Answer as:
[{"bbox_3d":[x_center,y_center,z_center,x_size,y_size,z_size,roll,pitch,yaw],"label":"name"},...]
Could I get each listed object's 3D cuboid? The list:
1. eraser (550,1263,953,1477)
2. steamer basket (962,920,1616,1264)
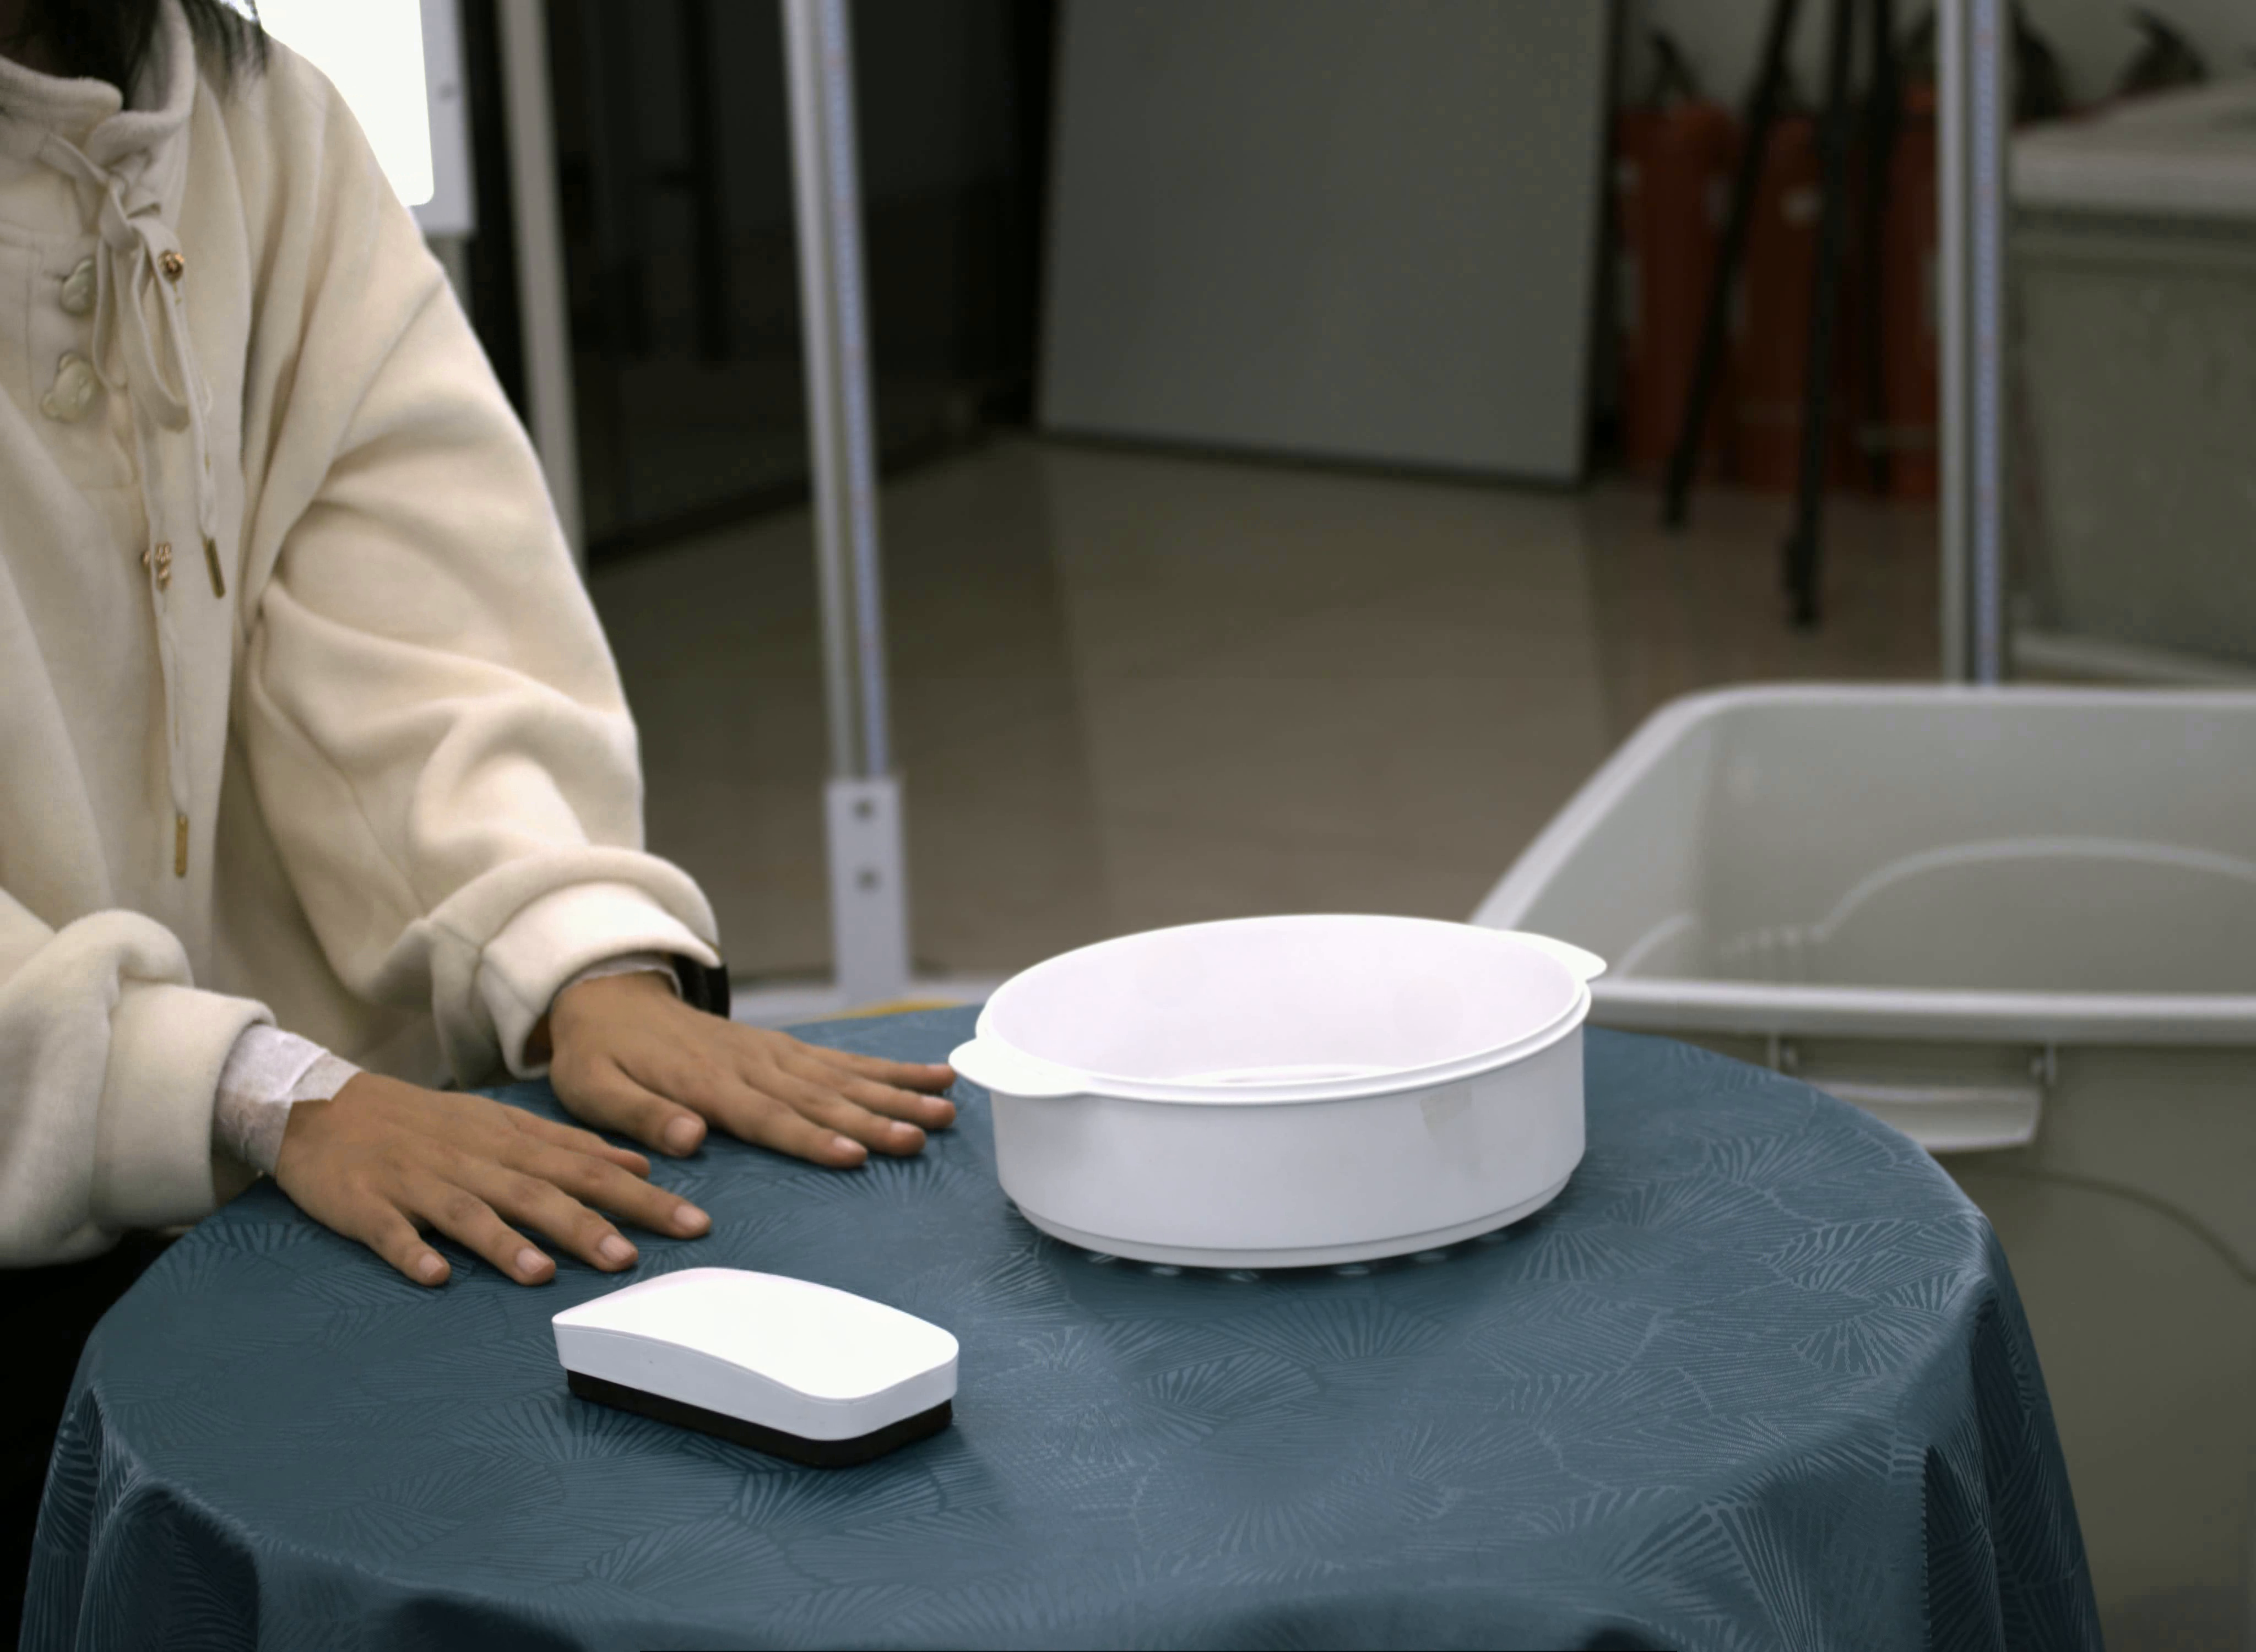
[{"bbox_3d":[-0.110,0.157,1.592,0.062,0.035,0.132,-17,20,-42],"label":"eraser"},{"bbox_3d":[0.056,0.086,1.754,0.225,0.070,0.204,-10,14,-27],"label":"steamer basket"}]
